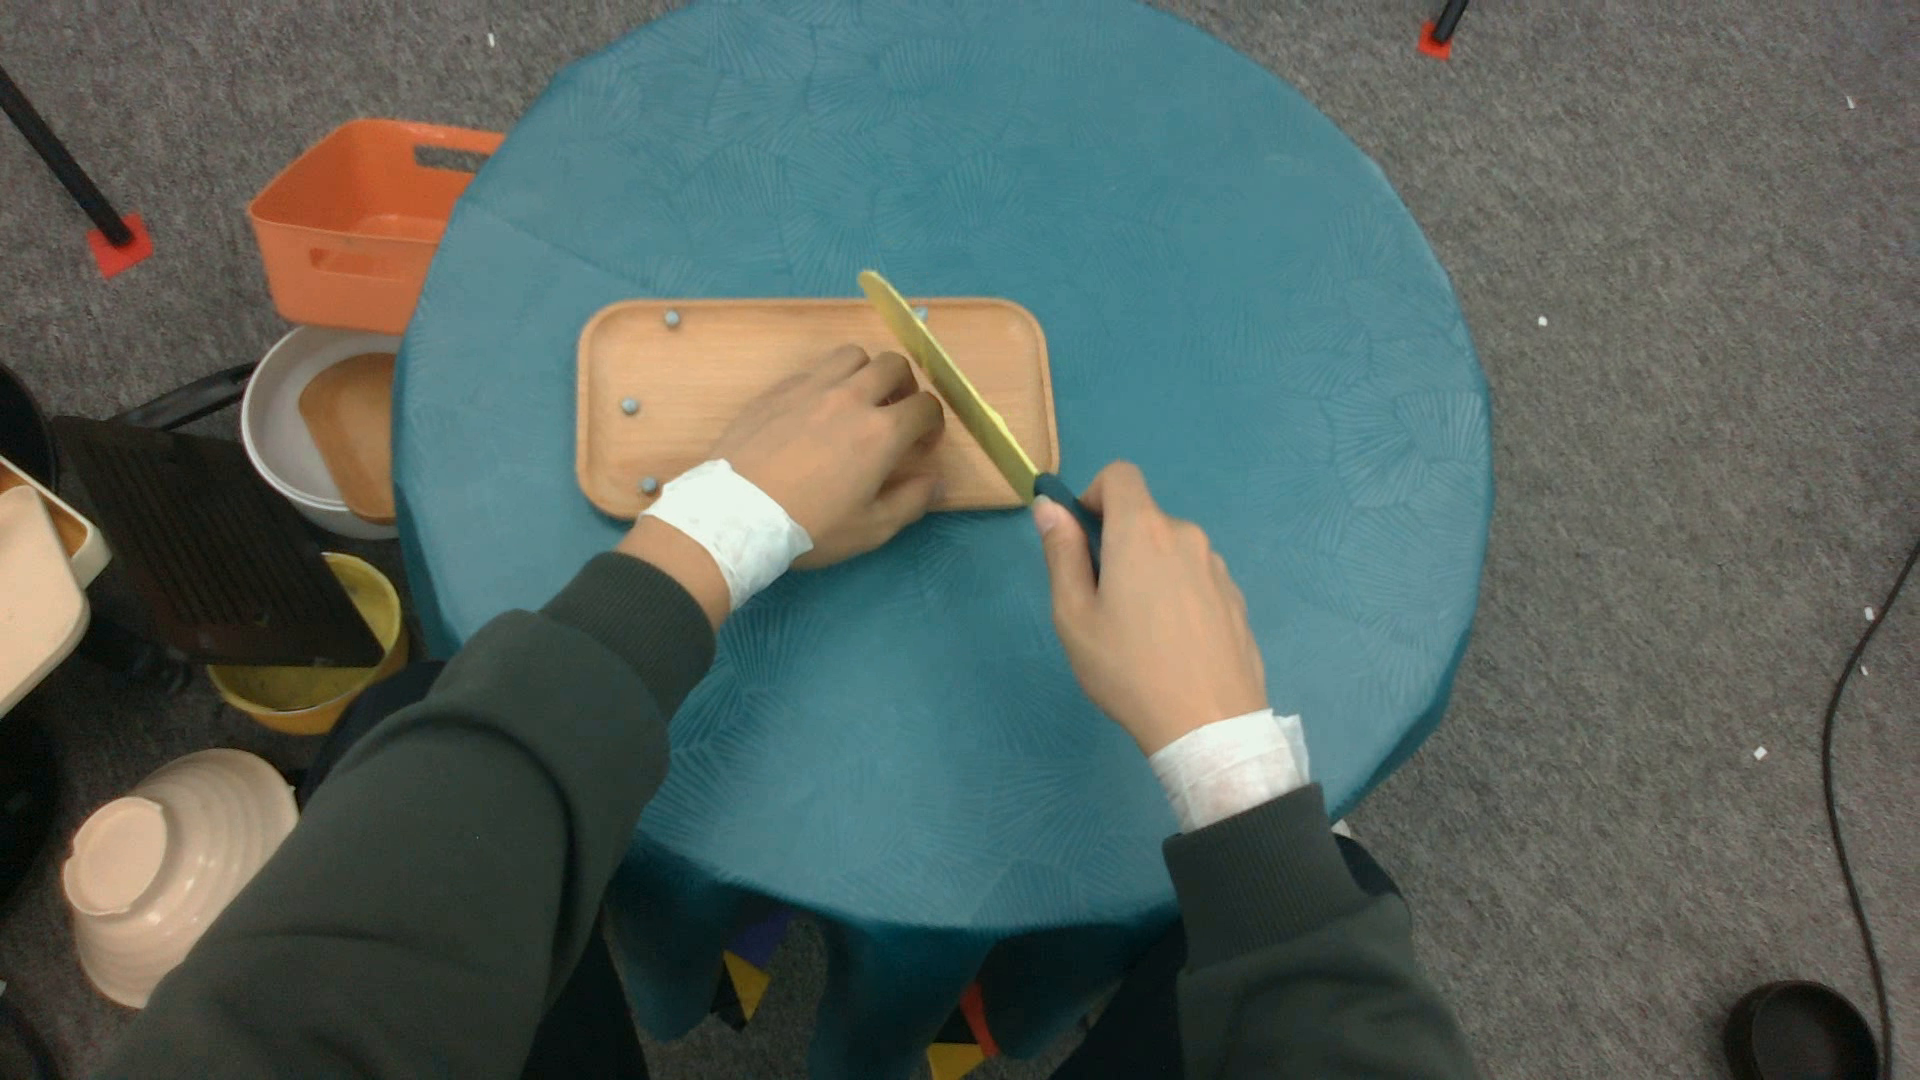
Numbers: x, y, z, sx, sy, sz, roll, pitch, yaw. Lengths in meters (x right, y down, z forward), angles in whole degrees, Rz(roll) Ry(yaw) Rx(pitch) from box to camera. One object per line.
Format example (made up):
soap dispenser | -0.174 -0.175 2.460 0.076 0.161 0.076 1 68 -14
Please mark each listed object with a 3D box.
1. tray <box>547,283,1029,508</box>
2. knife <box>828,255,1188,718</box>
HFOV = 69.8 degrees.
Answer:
tray | -0.090 -0.079 0.736 0.251 0.023 0.131 -1 70 -12
knife | 0.014 -0.032 0.662 0.027 0.081 0.290 -35 73 -5
